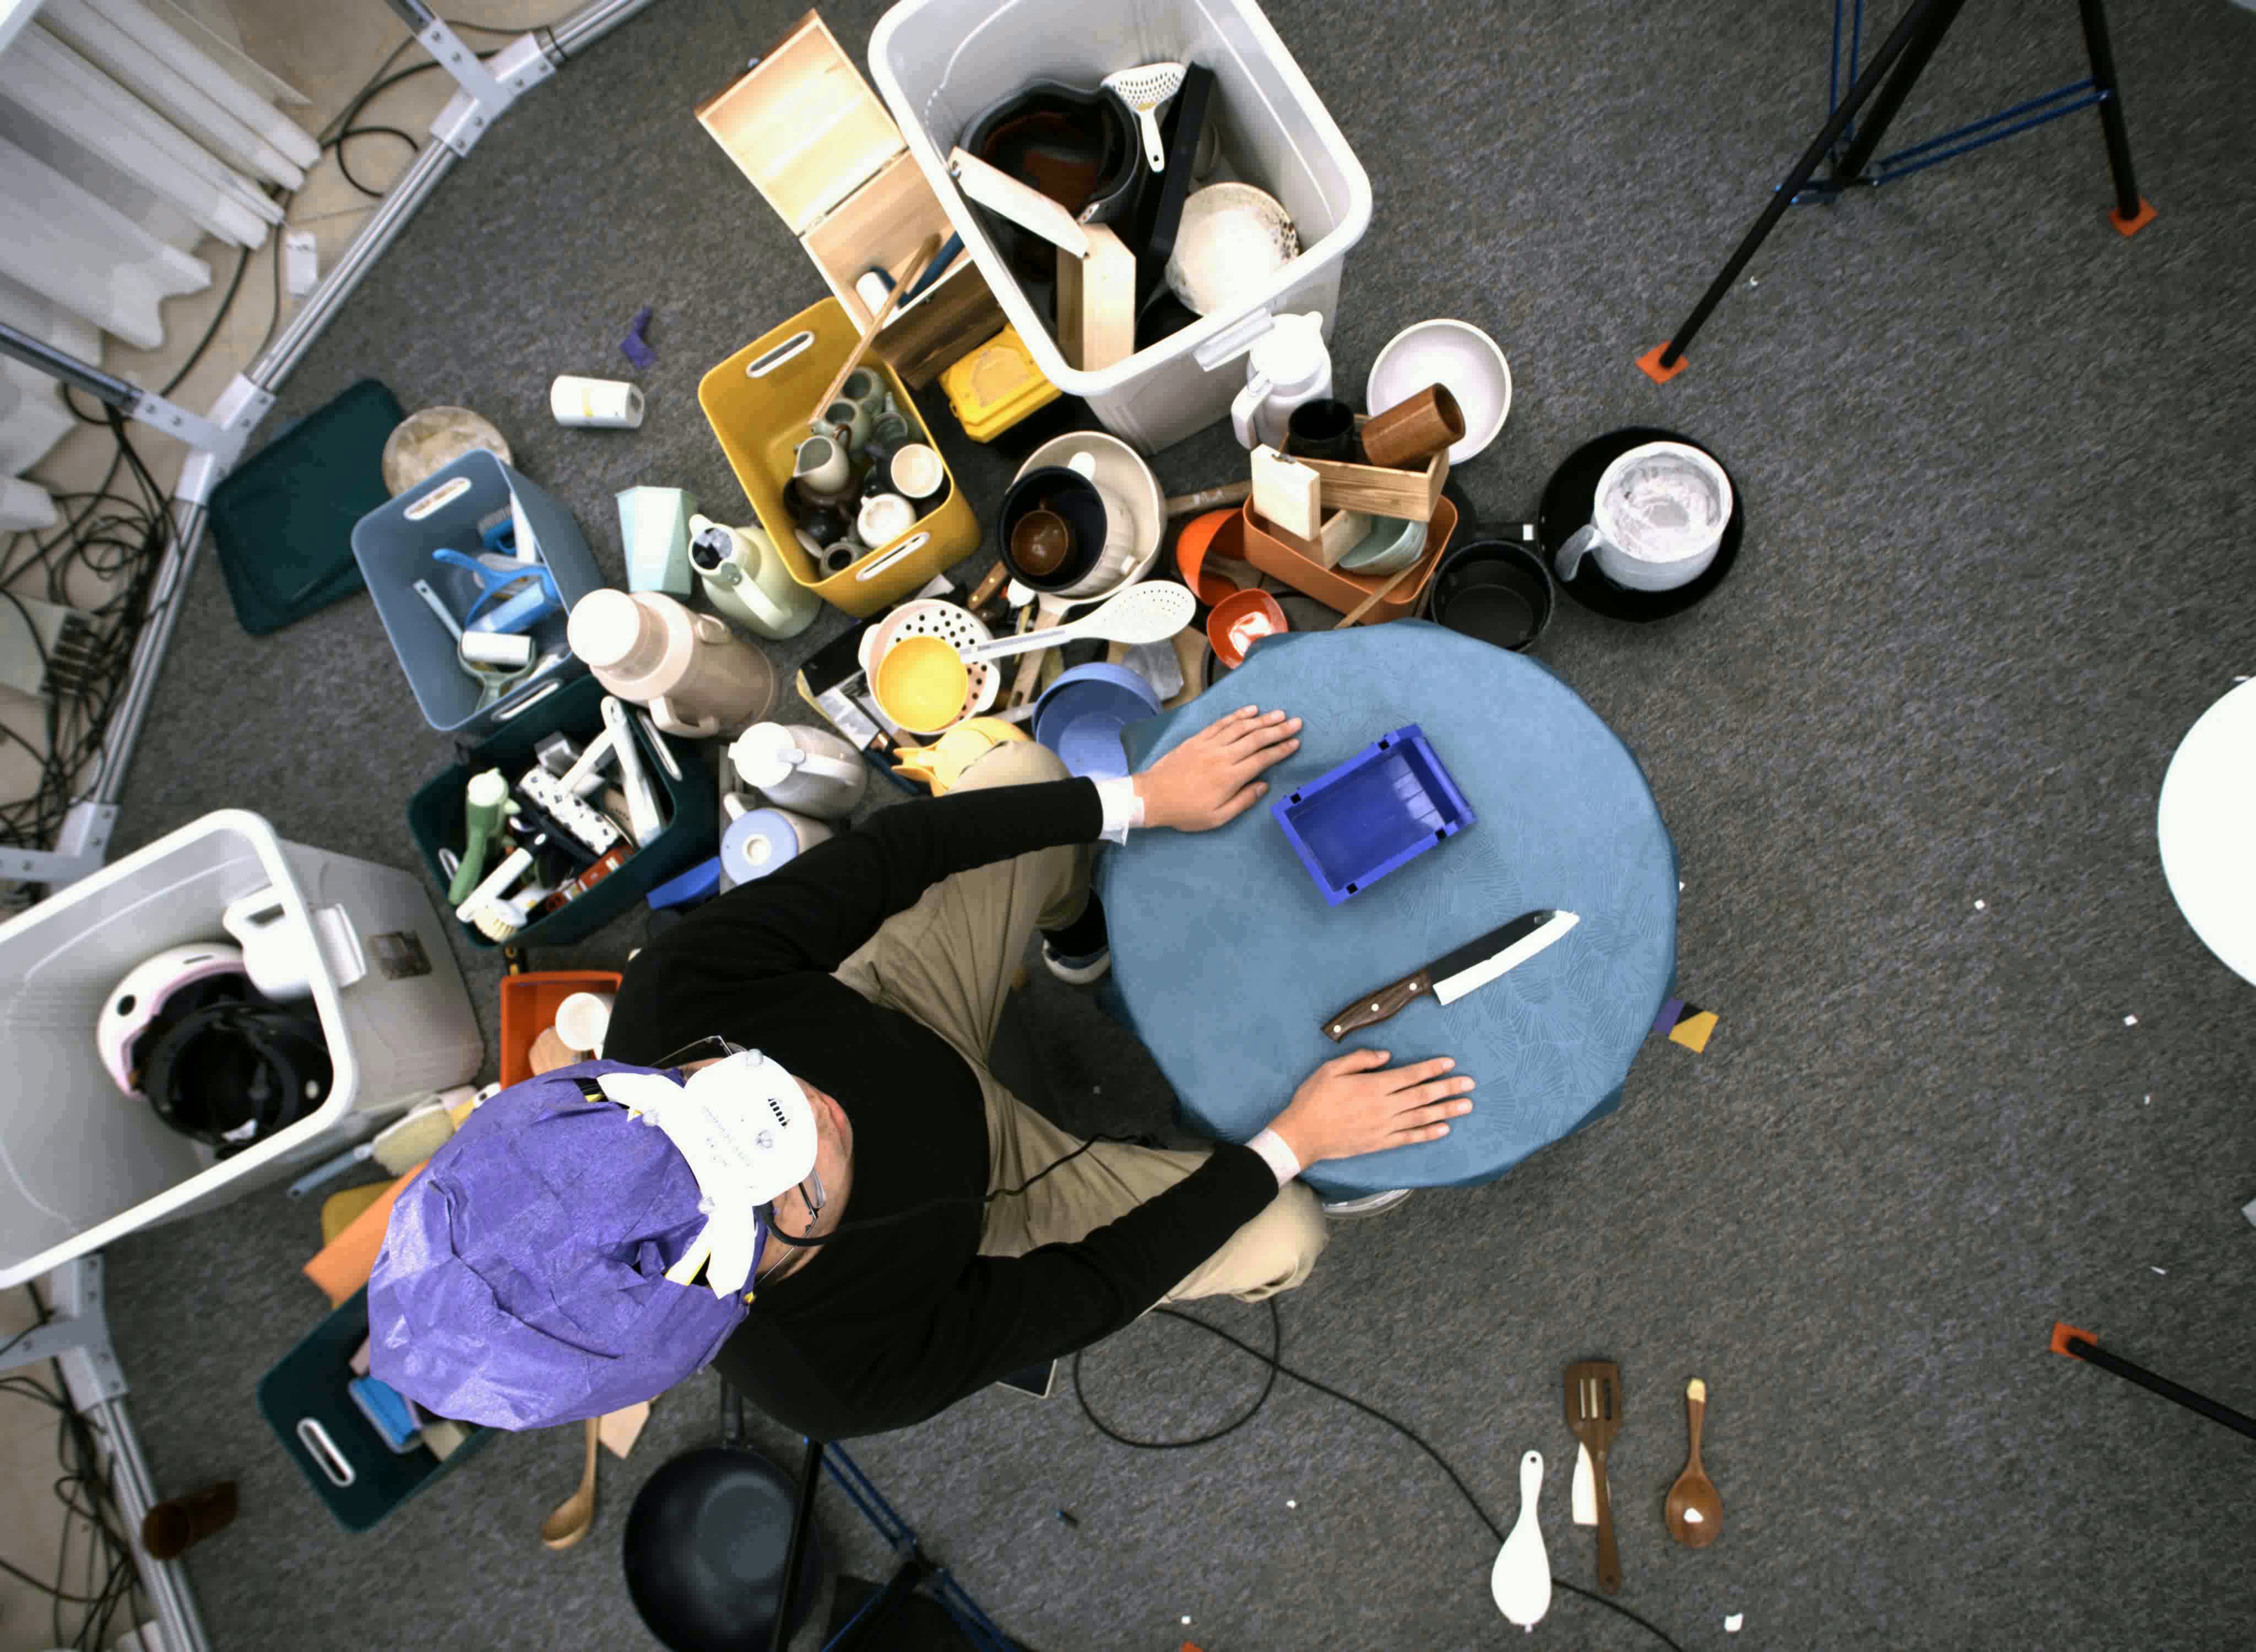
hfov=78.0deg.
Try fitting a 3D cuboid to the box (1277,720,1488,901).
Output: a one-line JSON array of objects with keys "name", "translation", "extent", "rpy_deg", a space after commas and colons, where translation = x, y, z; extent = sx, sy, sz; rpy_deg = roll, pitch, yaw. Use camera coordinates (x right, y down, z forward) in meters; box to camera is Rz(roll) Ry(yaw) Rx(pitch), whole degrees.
[{"name": "box", "translation": [0.263, -0.020, 1.425], "extent": [0.181, 0.082, 0.123], "rpy_deg": [-31, 81, 10]}]

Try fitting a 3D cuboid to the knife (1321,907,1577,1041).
[{"name": "knife", "translation": [0.335, 0.152, 1.436], "extent": [0.290, 0.020, 0.050], "rpy_deg": [-26, 87, 6]}]
